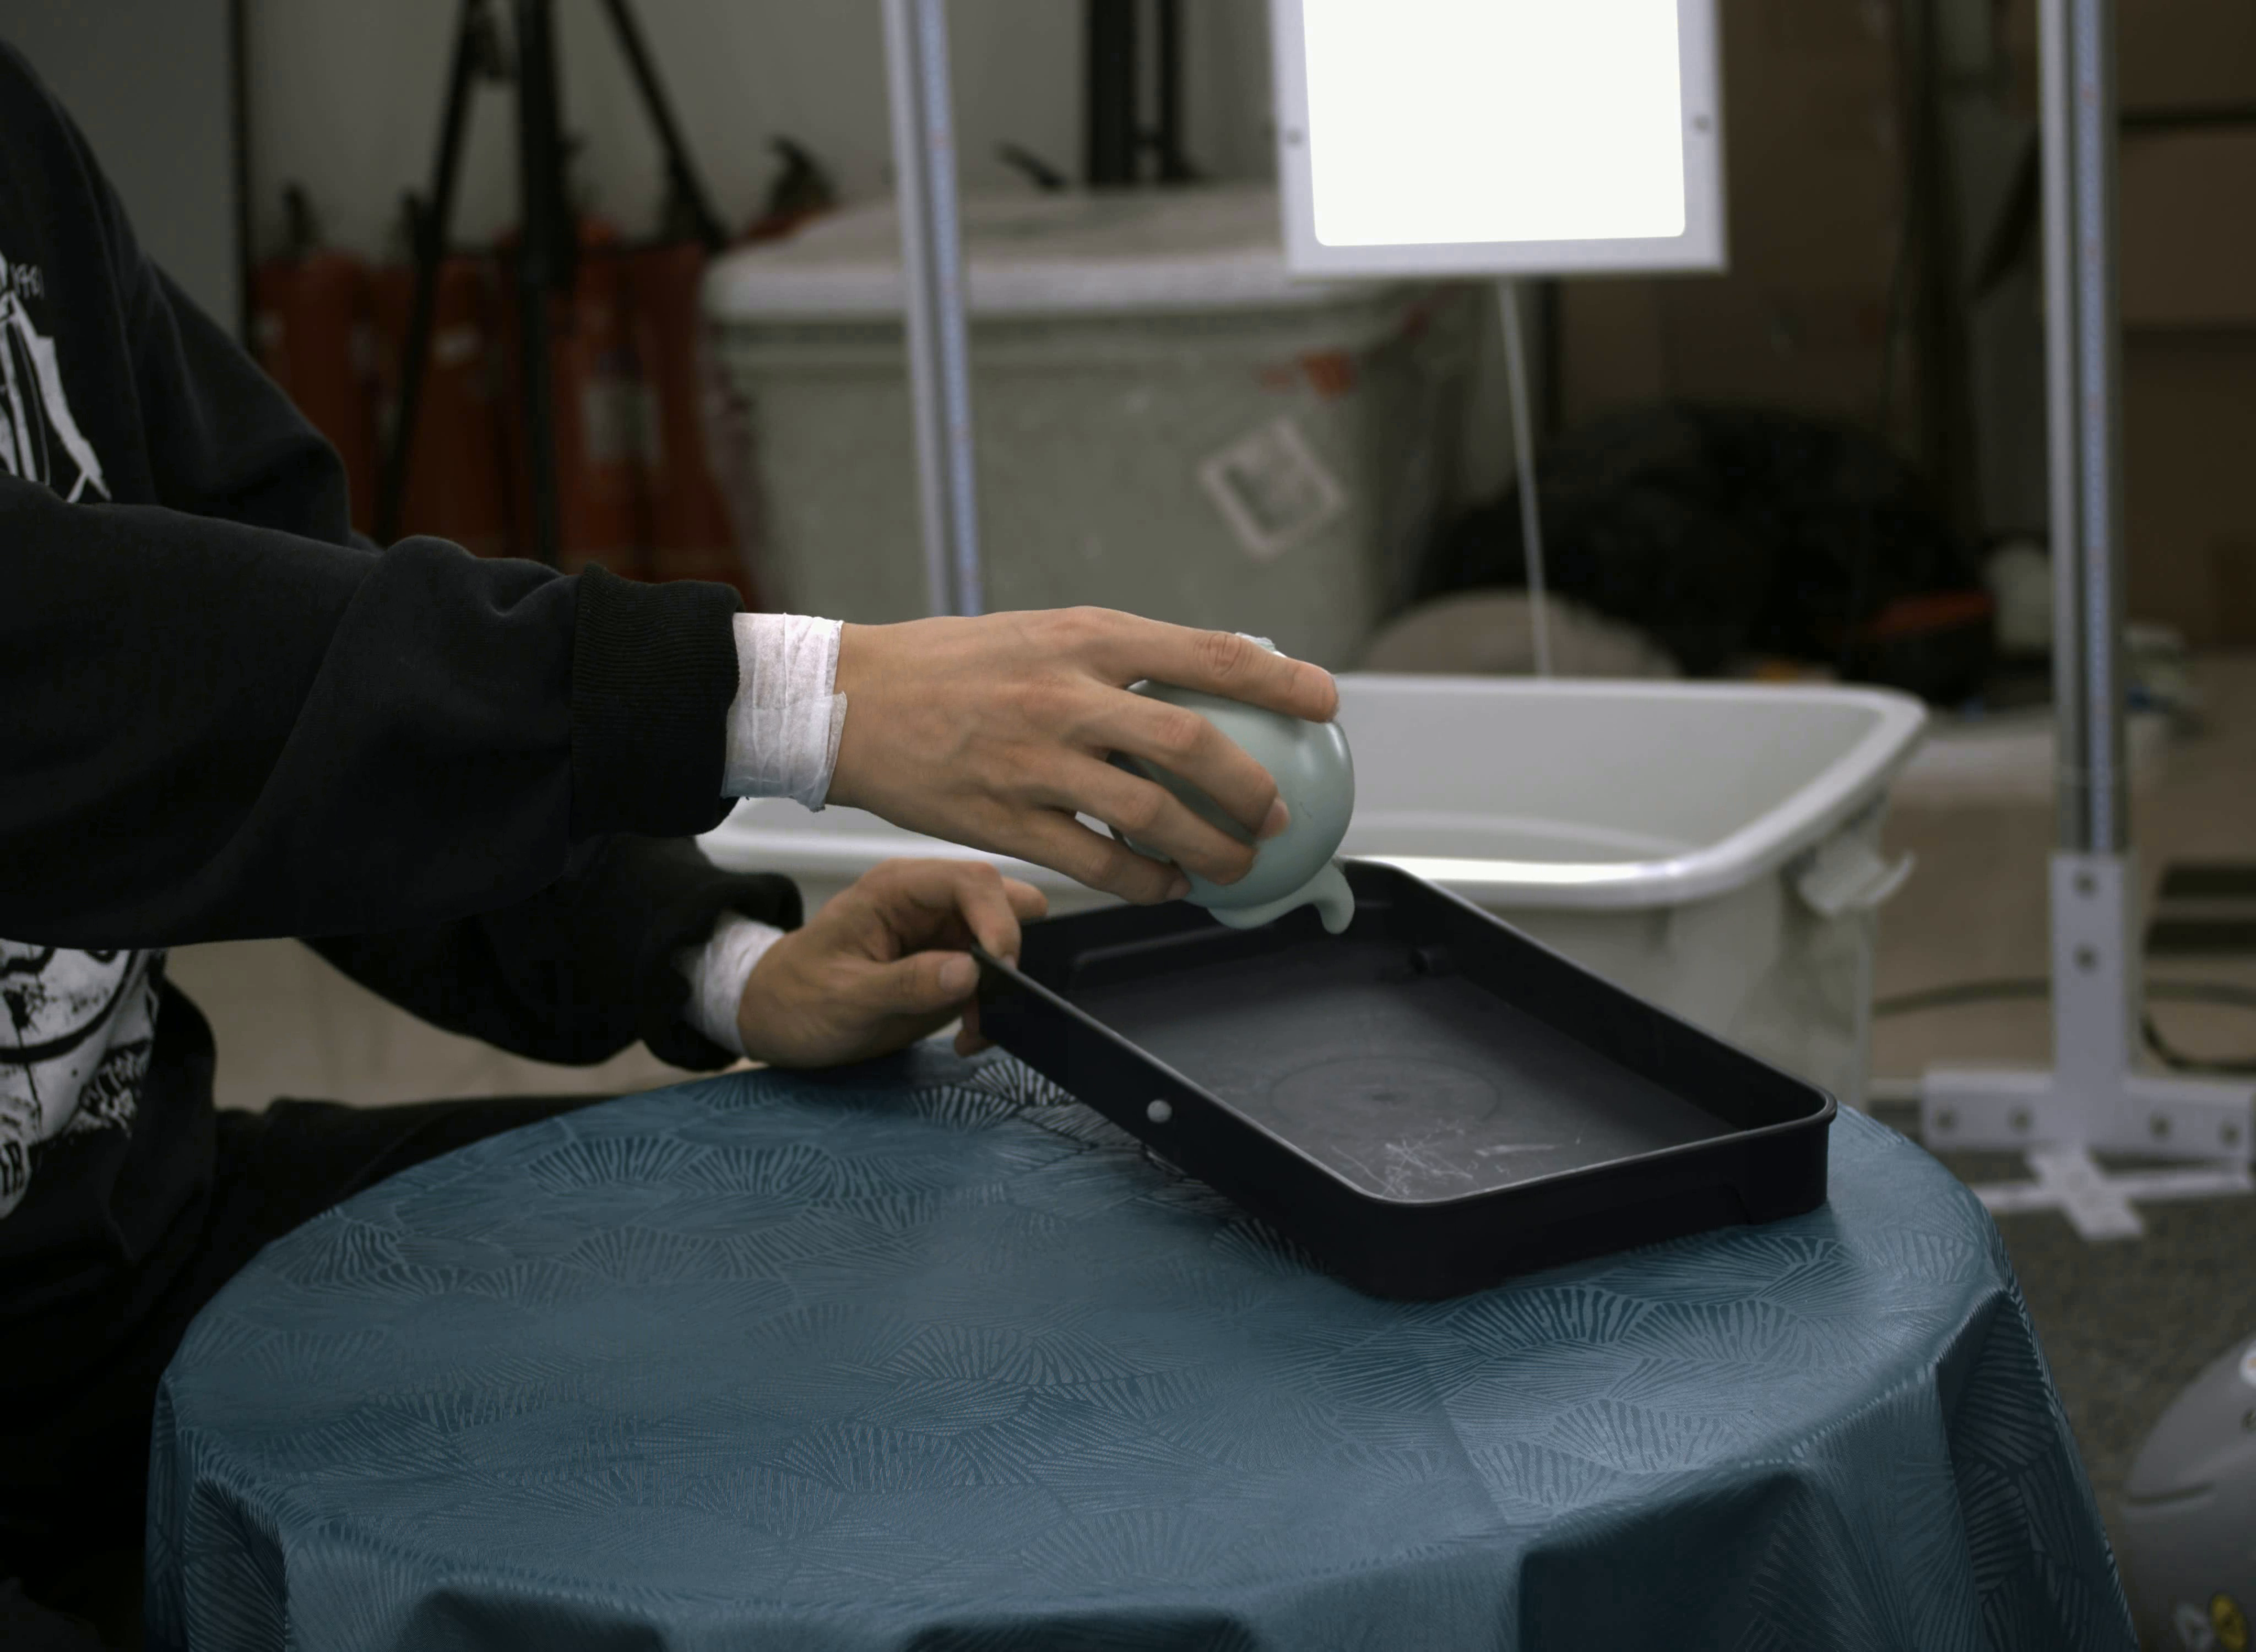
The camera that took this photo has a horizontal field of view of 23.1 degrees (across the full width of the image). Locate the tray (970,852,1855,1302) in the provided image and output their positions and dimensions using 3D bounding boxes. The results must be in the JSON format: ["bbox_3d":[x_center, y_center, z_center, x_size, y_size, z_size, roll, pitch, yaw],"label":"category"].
[{"bbox_3d":[0.092,0.081,1.906,0.180,0.037,0.323,-10,21,-27],"label":"tray"}]

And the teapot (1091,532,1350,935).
[{"bbox_3d":[0.030,-0.019,1.749,0.073,0.144,0.090,-23,25,-27],"label":"teapot"}]
